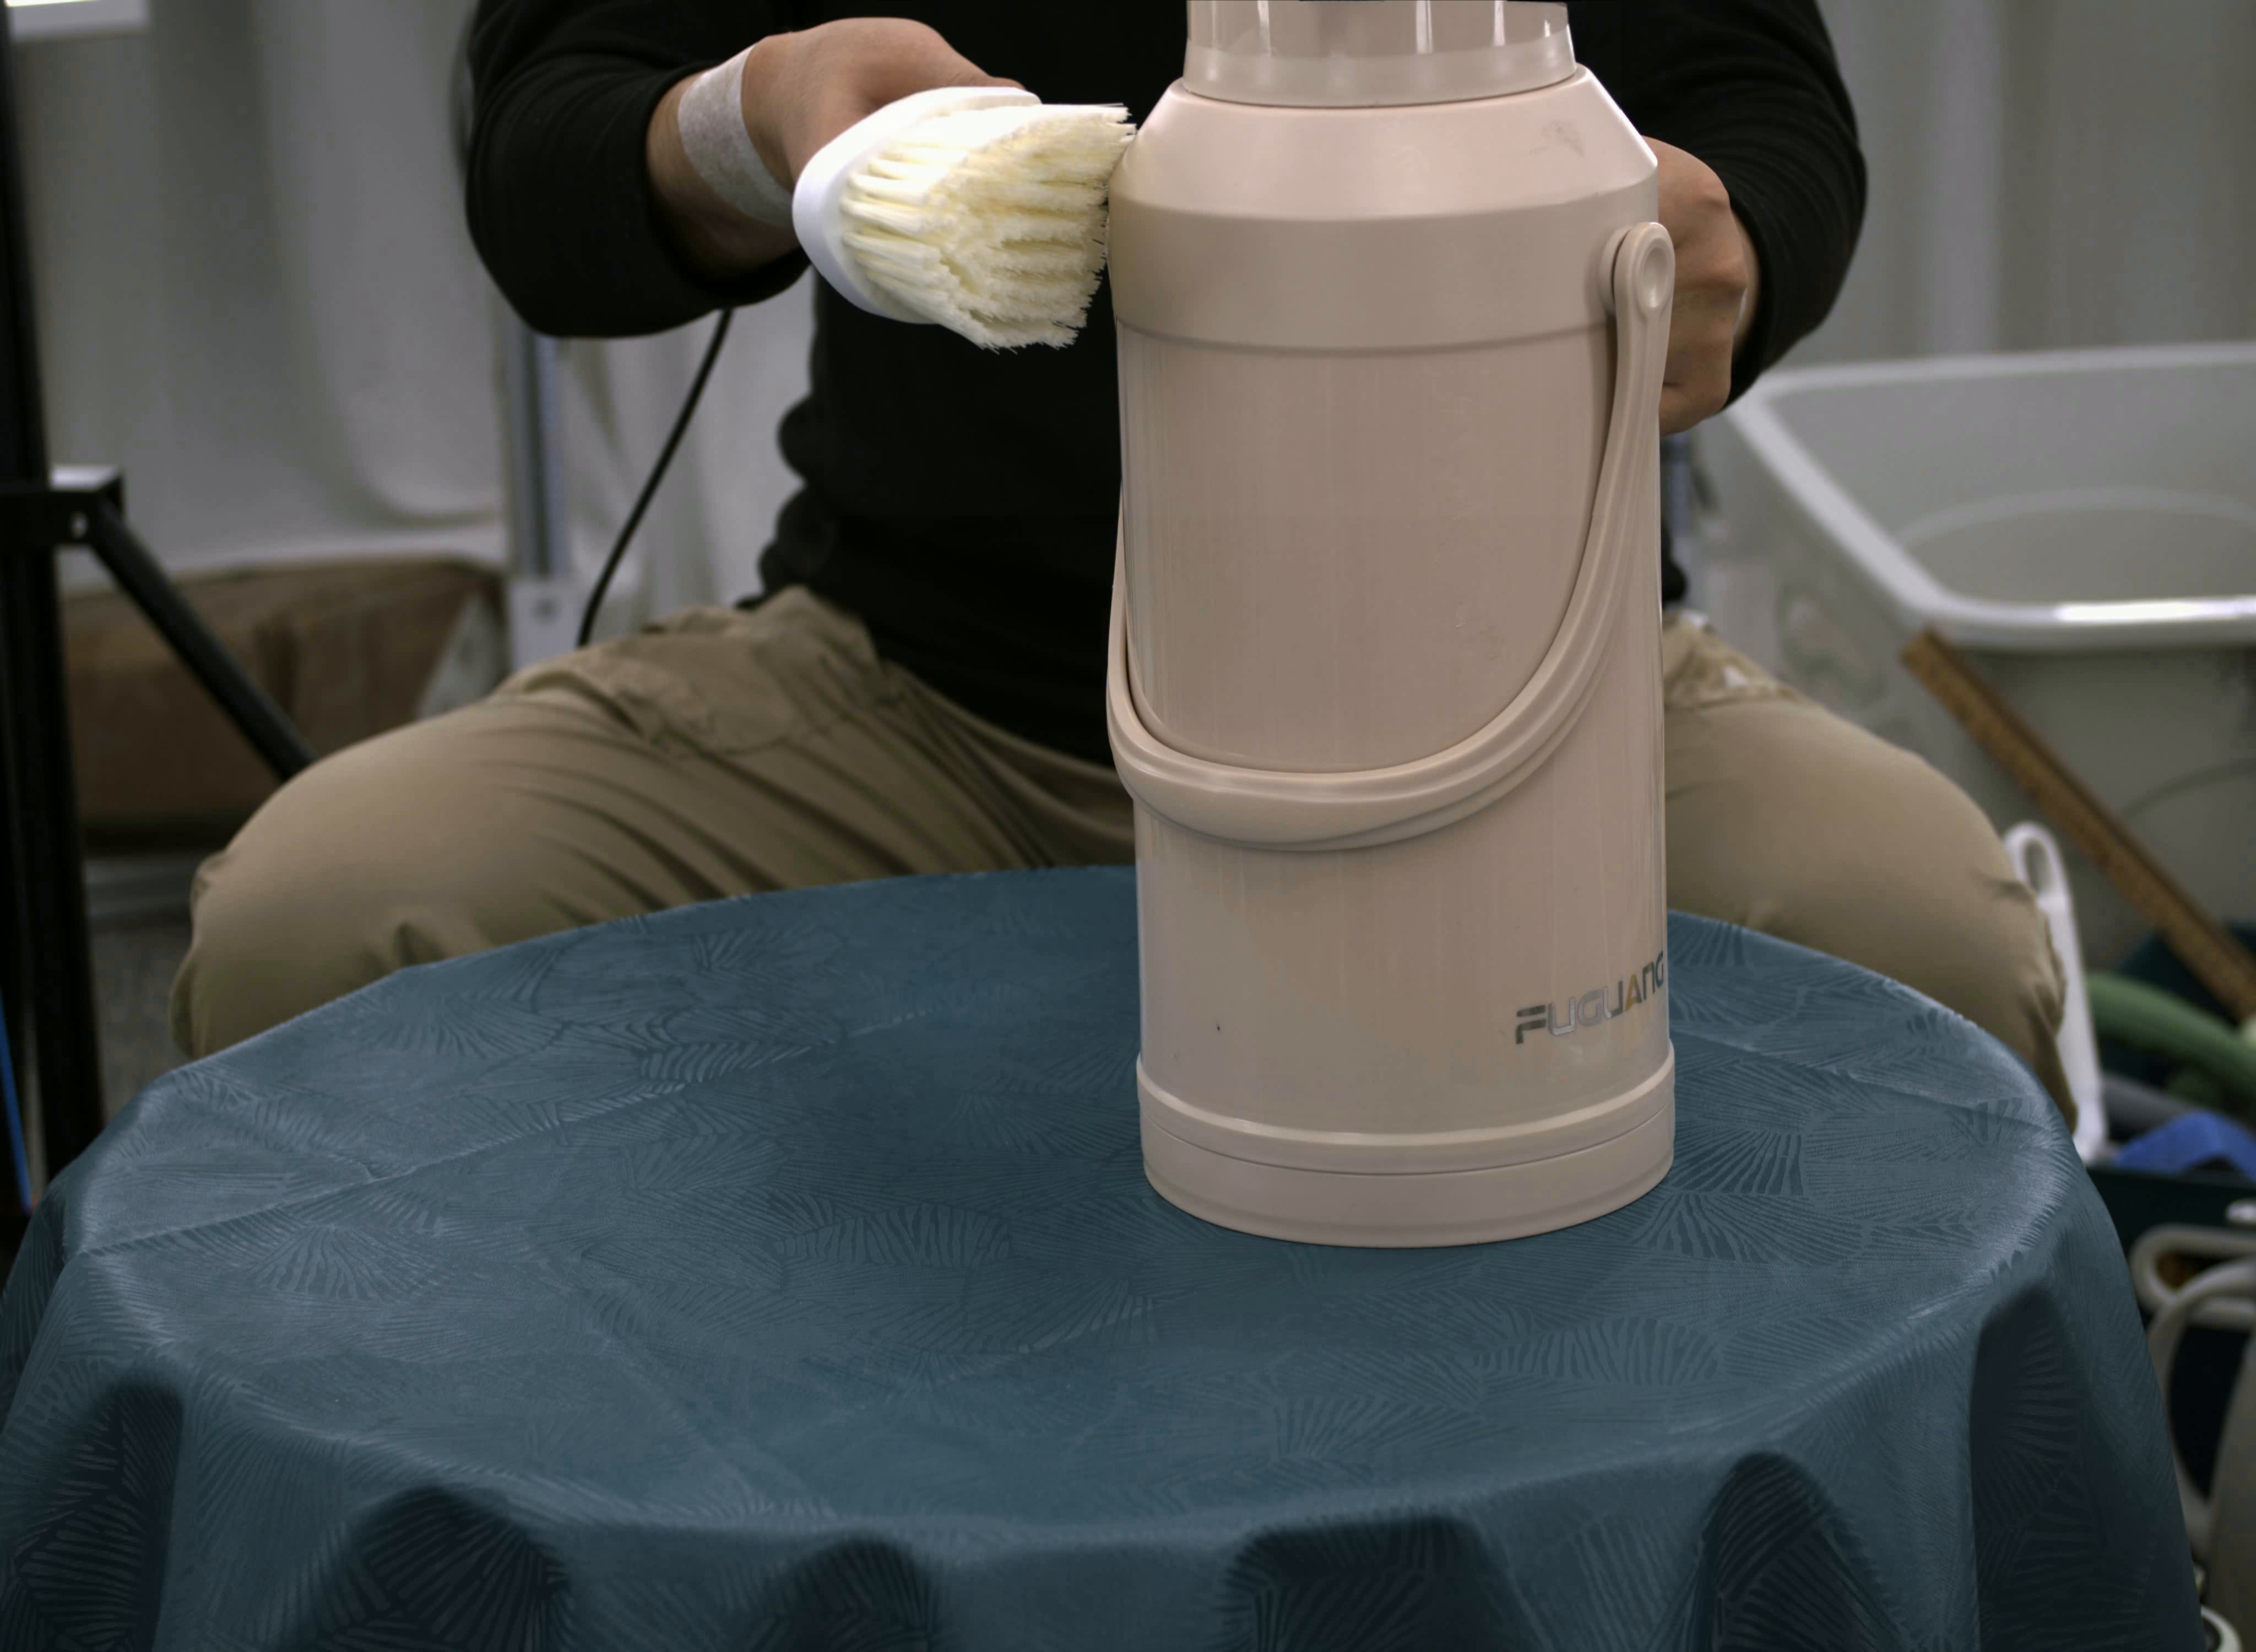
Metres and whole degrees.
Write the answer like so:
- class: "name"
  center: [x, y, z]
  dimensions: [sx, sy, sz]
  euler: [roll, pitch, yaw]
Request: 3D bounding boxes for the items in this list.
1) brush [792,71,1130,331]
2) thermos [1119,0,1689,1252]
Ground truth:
- class: "brush"
  center: [-0.026, -0.192, 1.570]
  dimensions: [0.083, 0.084, 0.323]
  euler: [-39, 1, 13]
- class: "thermos"
  center: [0.088, -0.095, 1.534]
  dimensions: [0.179, 0.406, 0.203]
  euler: [6, 17, 34]
